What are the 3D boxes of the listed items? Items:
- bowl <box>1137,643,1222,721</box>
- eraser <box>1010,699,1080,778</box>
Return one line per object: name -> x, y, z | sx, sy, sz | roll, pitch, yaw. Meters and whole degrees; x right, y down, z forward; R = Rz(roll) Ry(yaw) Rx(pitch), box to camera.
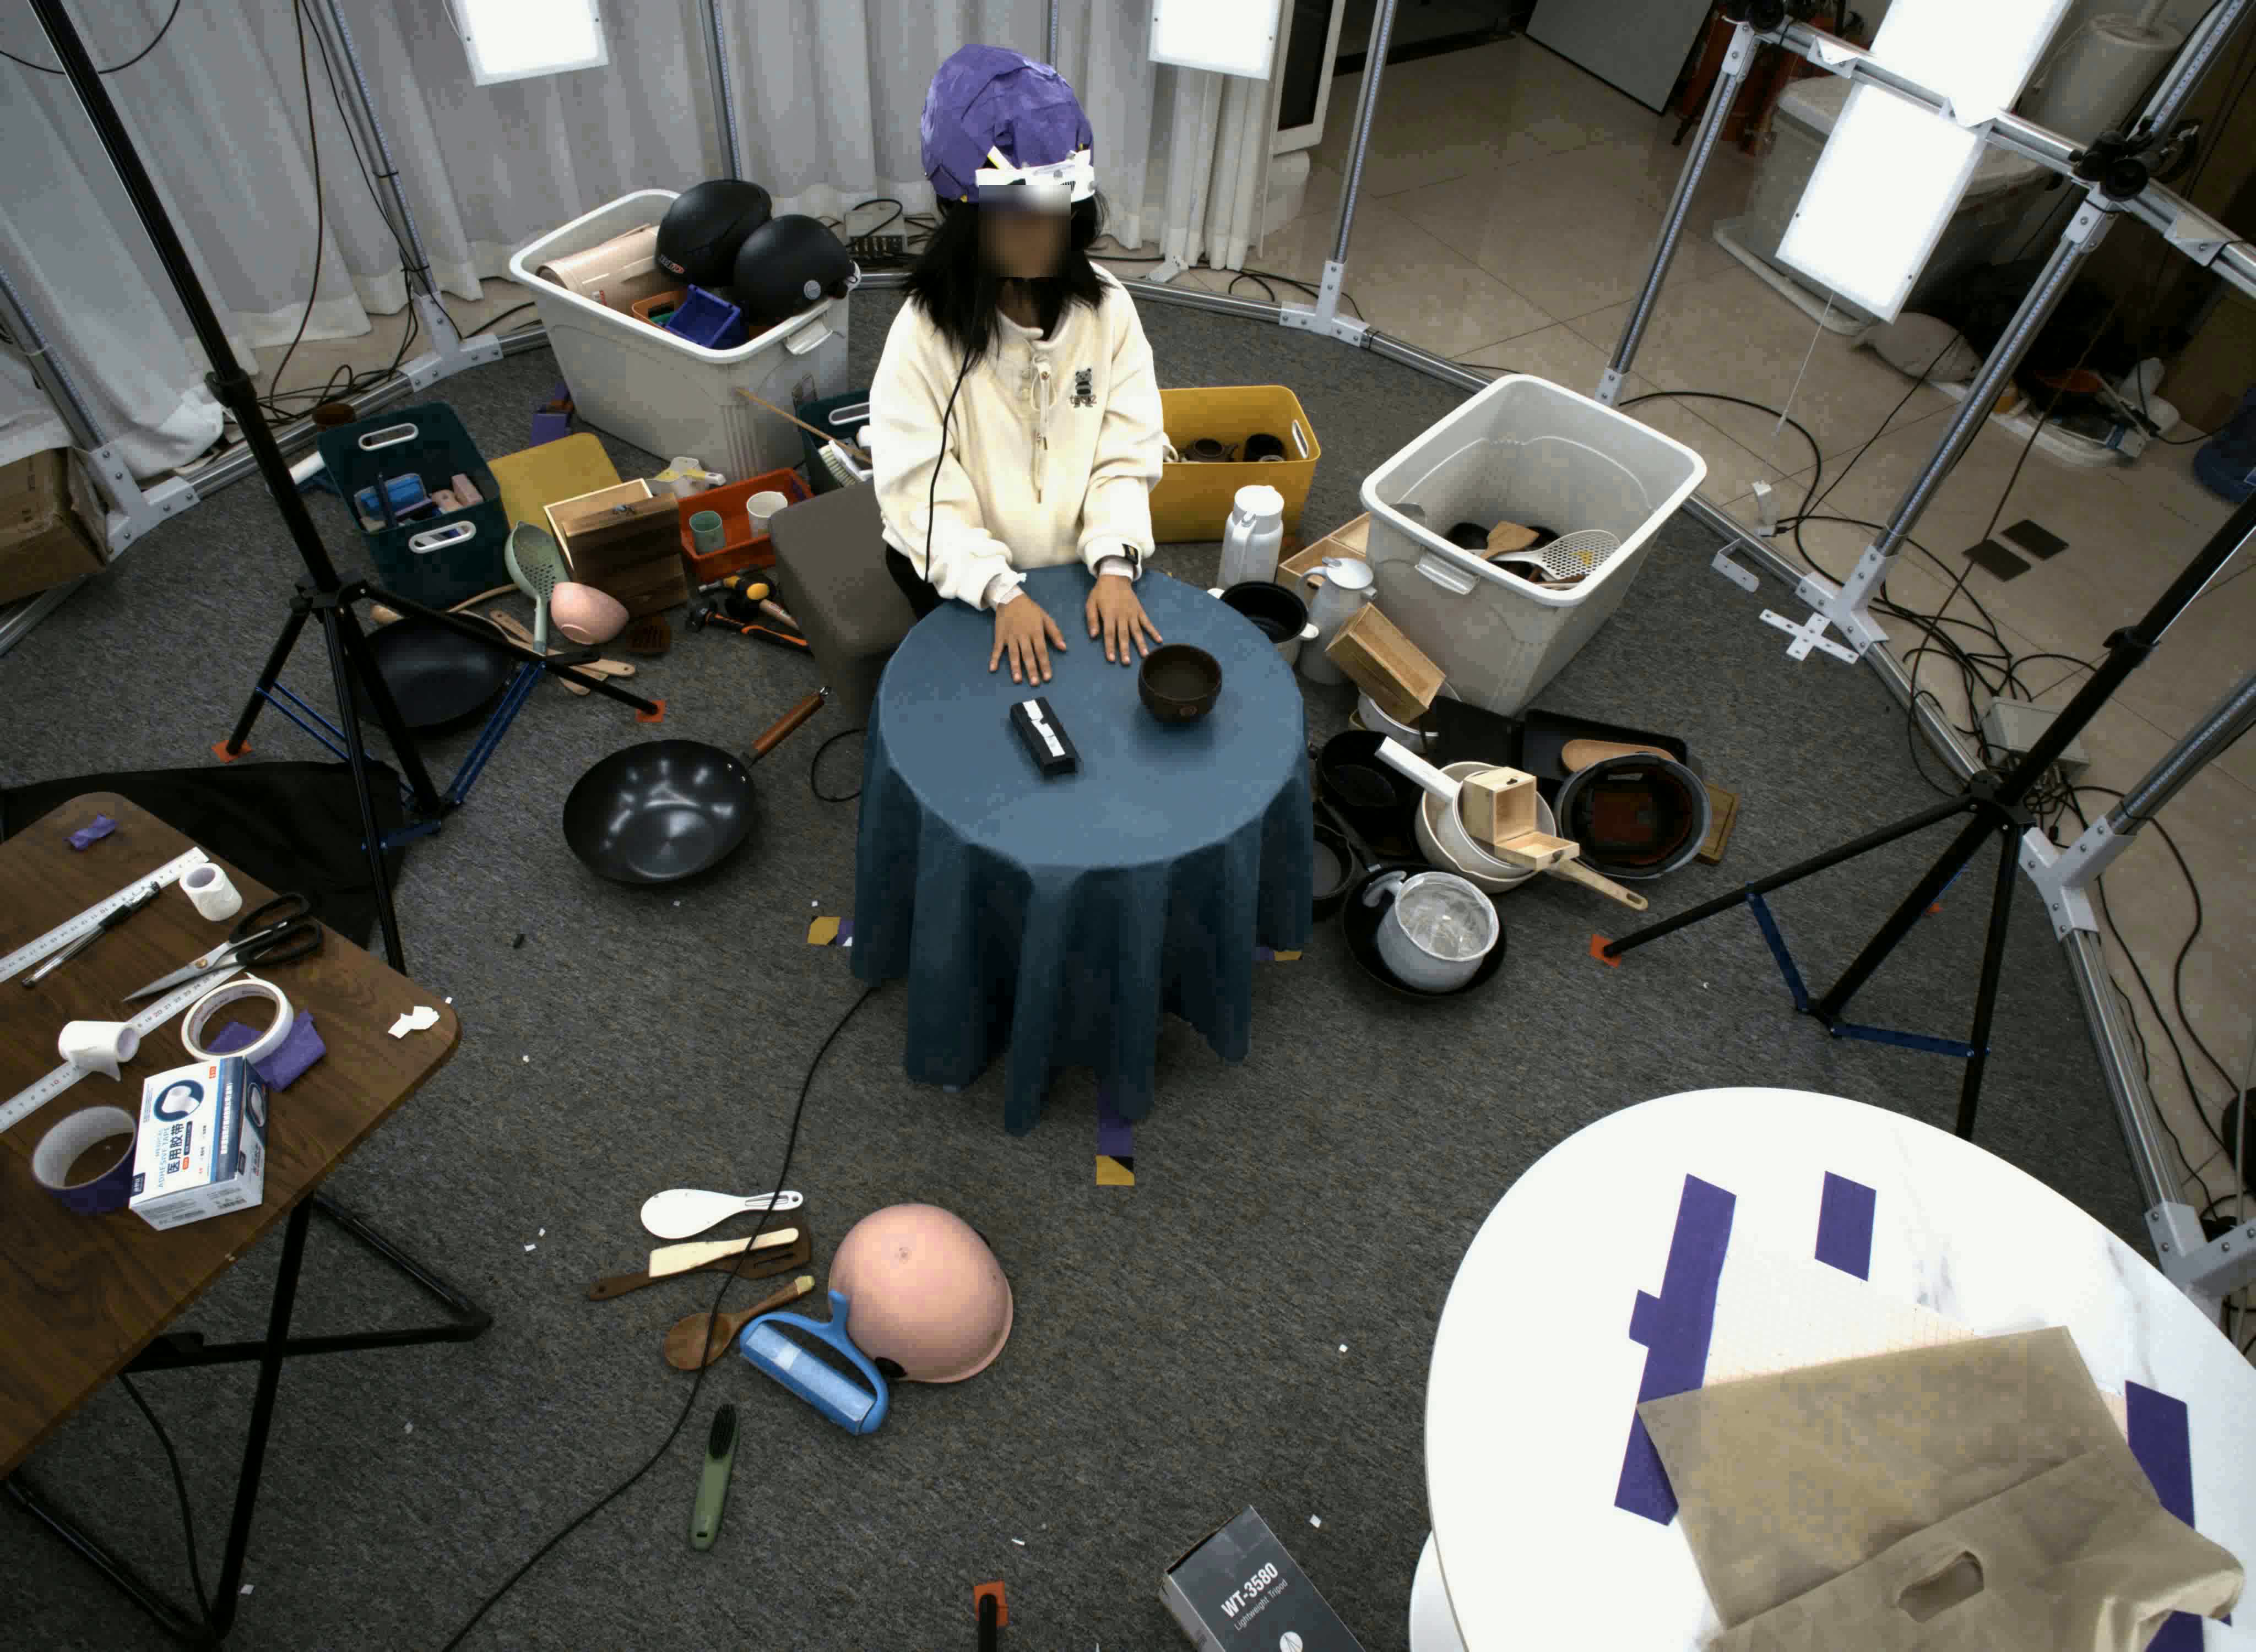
bowl -> 0.071, -0.193, 1.796 | 0.118, 0.068, 0.121 | 1, 49, -2
eraser -> -0.114, -0.120, 1.749 | 0.053, 0.030, 0.128 | -17, 50, -19
